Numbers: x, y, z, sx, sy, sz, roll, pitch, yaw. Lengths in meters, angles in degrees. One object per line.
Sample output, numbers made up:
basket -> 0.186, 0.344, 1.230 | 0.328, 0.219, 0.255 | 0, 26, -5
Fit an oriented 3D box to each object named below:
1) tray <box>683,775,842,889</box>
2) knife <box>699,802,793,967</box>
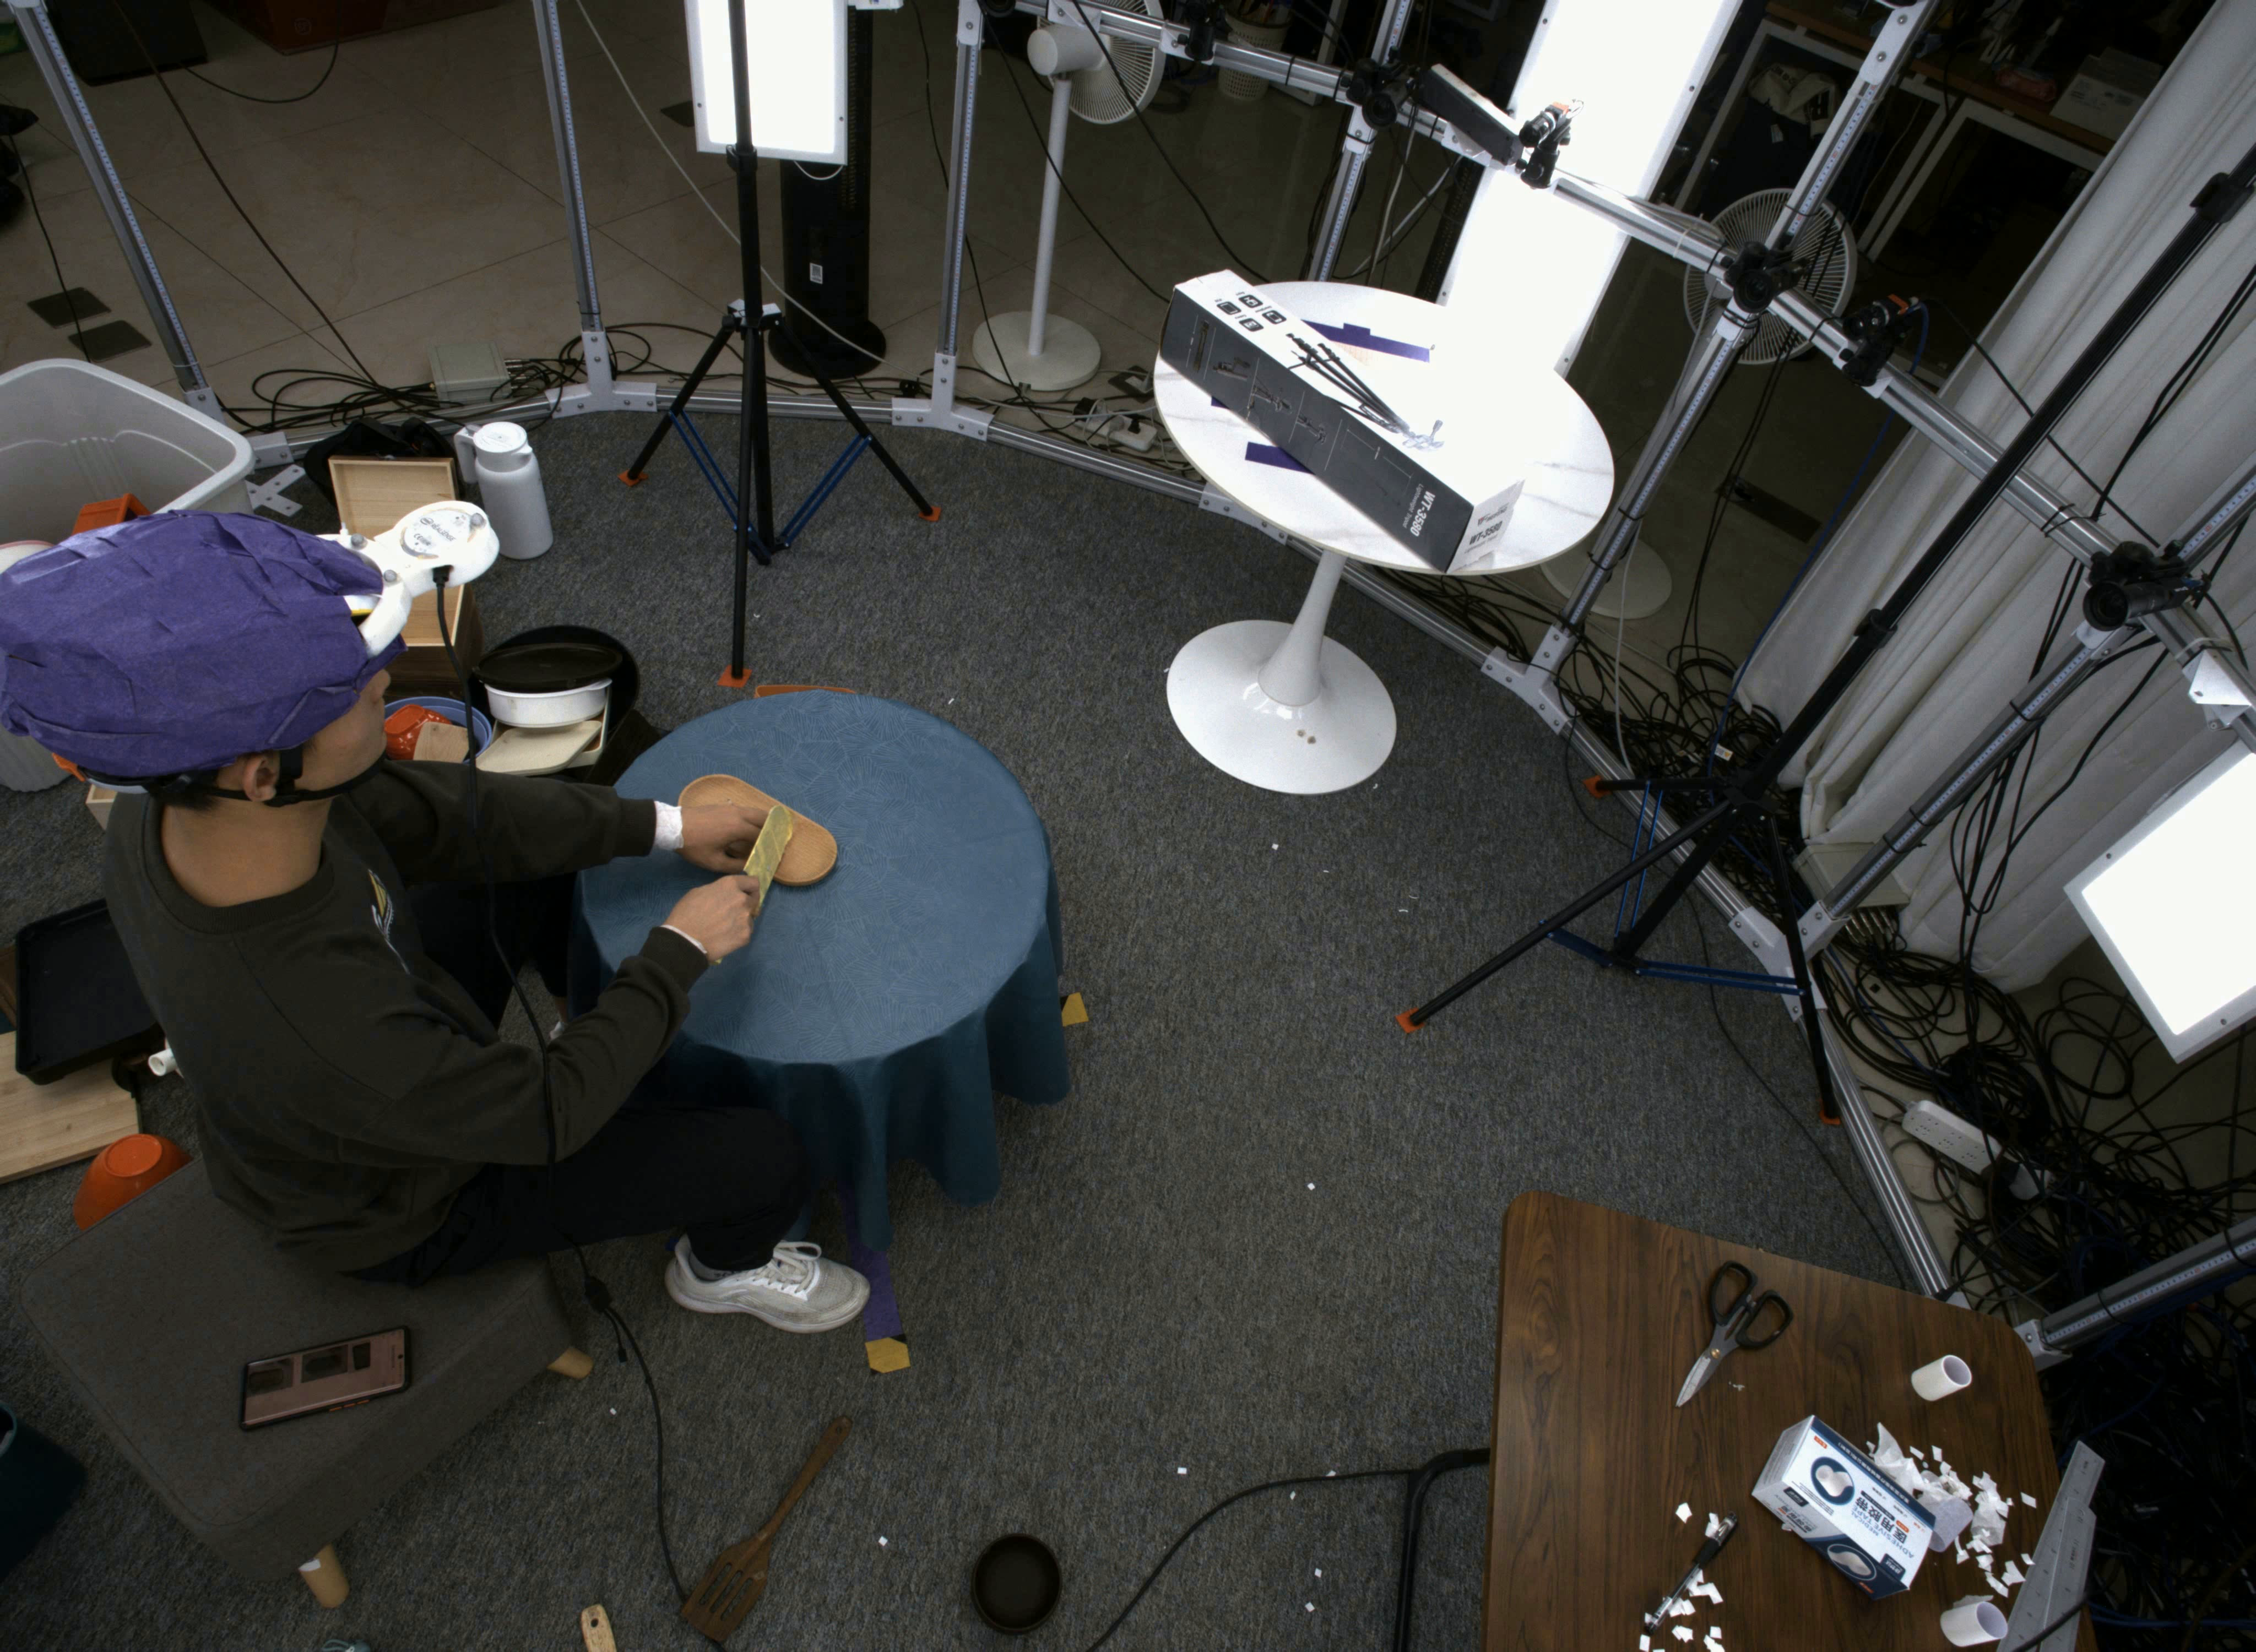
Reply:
tray -> -0.483, 0.006, 1.706 | 0.228, 0.020, 0.101 | 30, 55, 6
knife -> -0.462, 0.071, 1.591 | 0.027, 0.084, 0.285 | 2, 41, 10
